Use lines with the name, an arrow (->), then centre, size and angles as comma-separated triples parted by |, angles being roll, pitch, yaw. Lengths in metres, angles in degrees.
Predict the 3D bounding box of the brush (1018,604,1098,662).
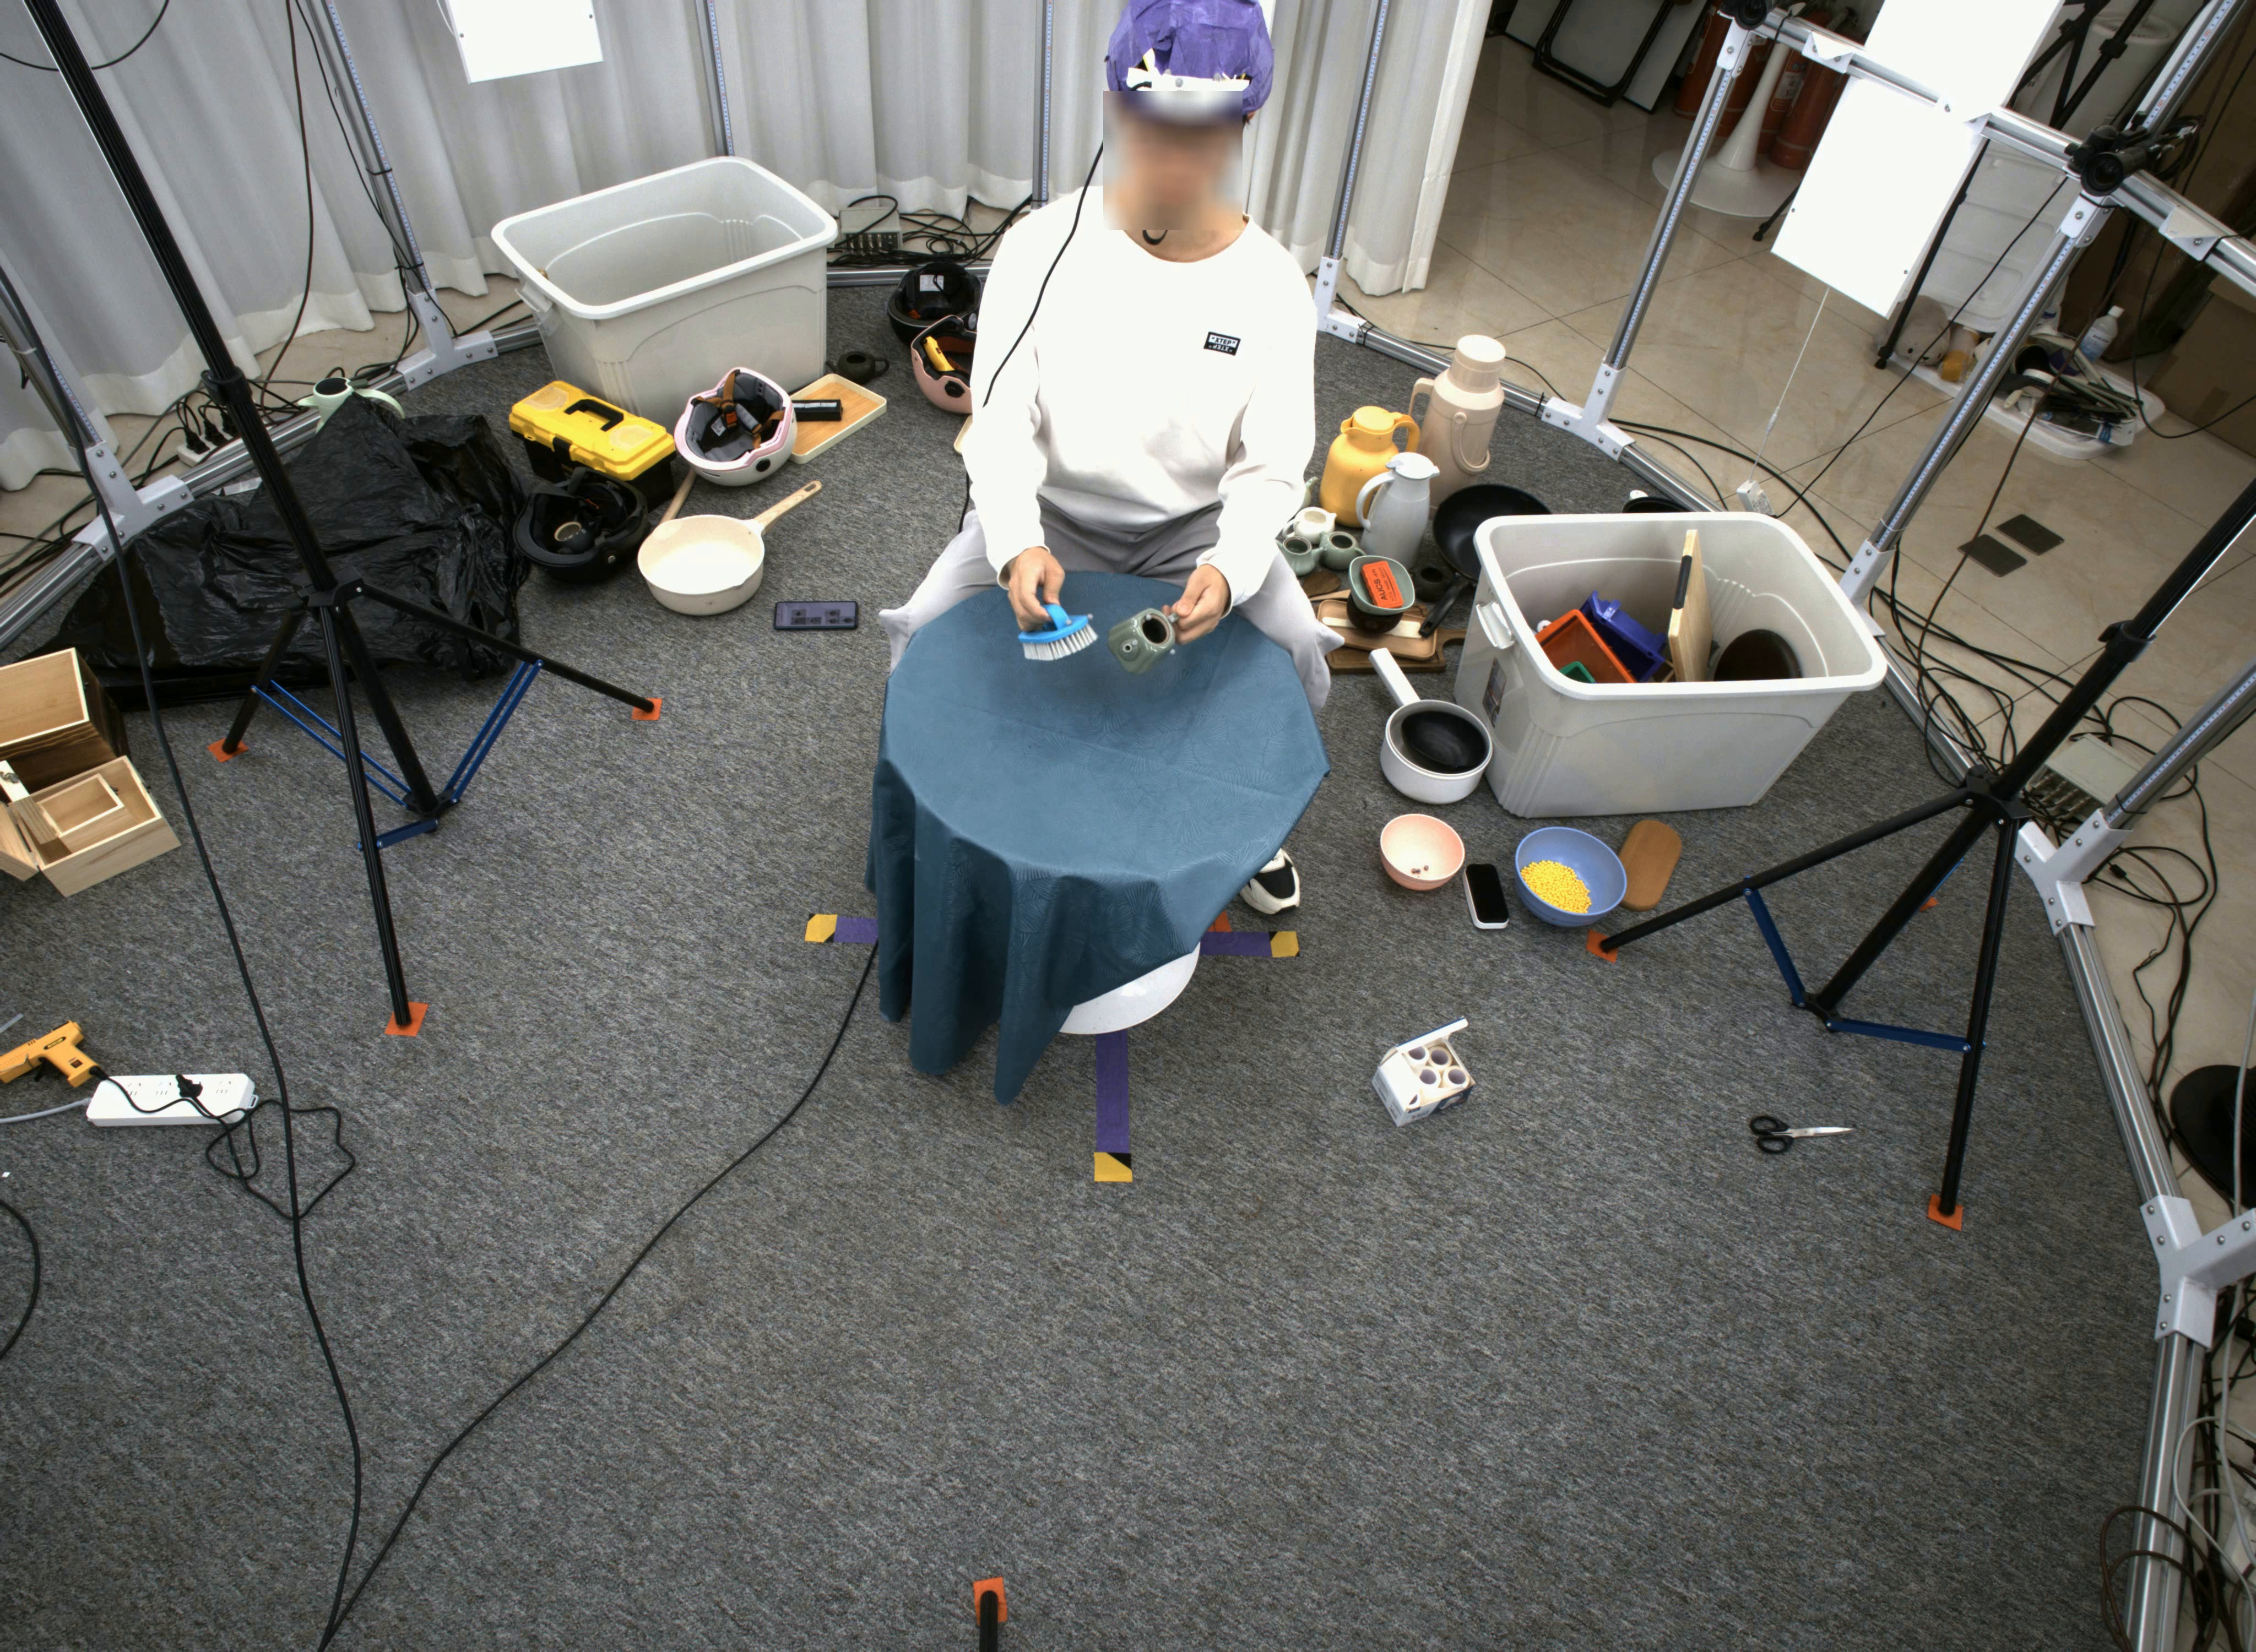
brush -> -0.103, -0.270, 1.741 | 0.085, 0.063, 0.143 | -33, 20, -17

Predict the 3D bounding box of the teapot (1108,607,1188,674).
teapot -> 0.023, -0.259, 1.764 | 0.134, 0.074, 0.079 | -36, 93, -35
